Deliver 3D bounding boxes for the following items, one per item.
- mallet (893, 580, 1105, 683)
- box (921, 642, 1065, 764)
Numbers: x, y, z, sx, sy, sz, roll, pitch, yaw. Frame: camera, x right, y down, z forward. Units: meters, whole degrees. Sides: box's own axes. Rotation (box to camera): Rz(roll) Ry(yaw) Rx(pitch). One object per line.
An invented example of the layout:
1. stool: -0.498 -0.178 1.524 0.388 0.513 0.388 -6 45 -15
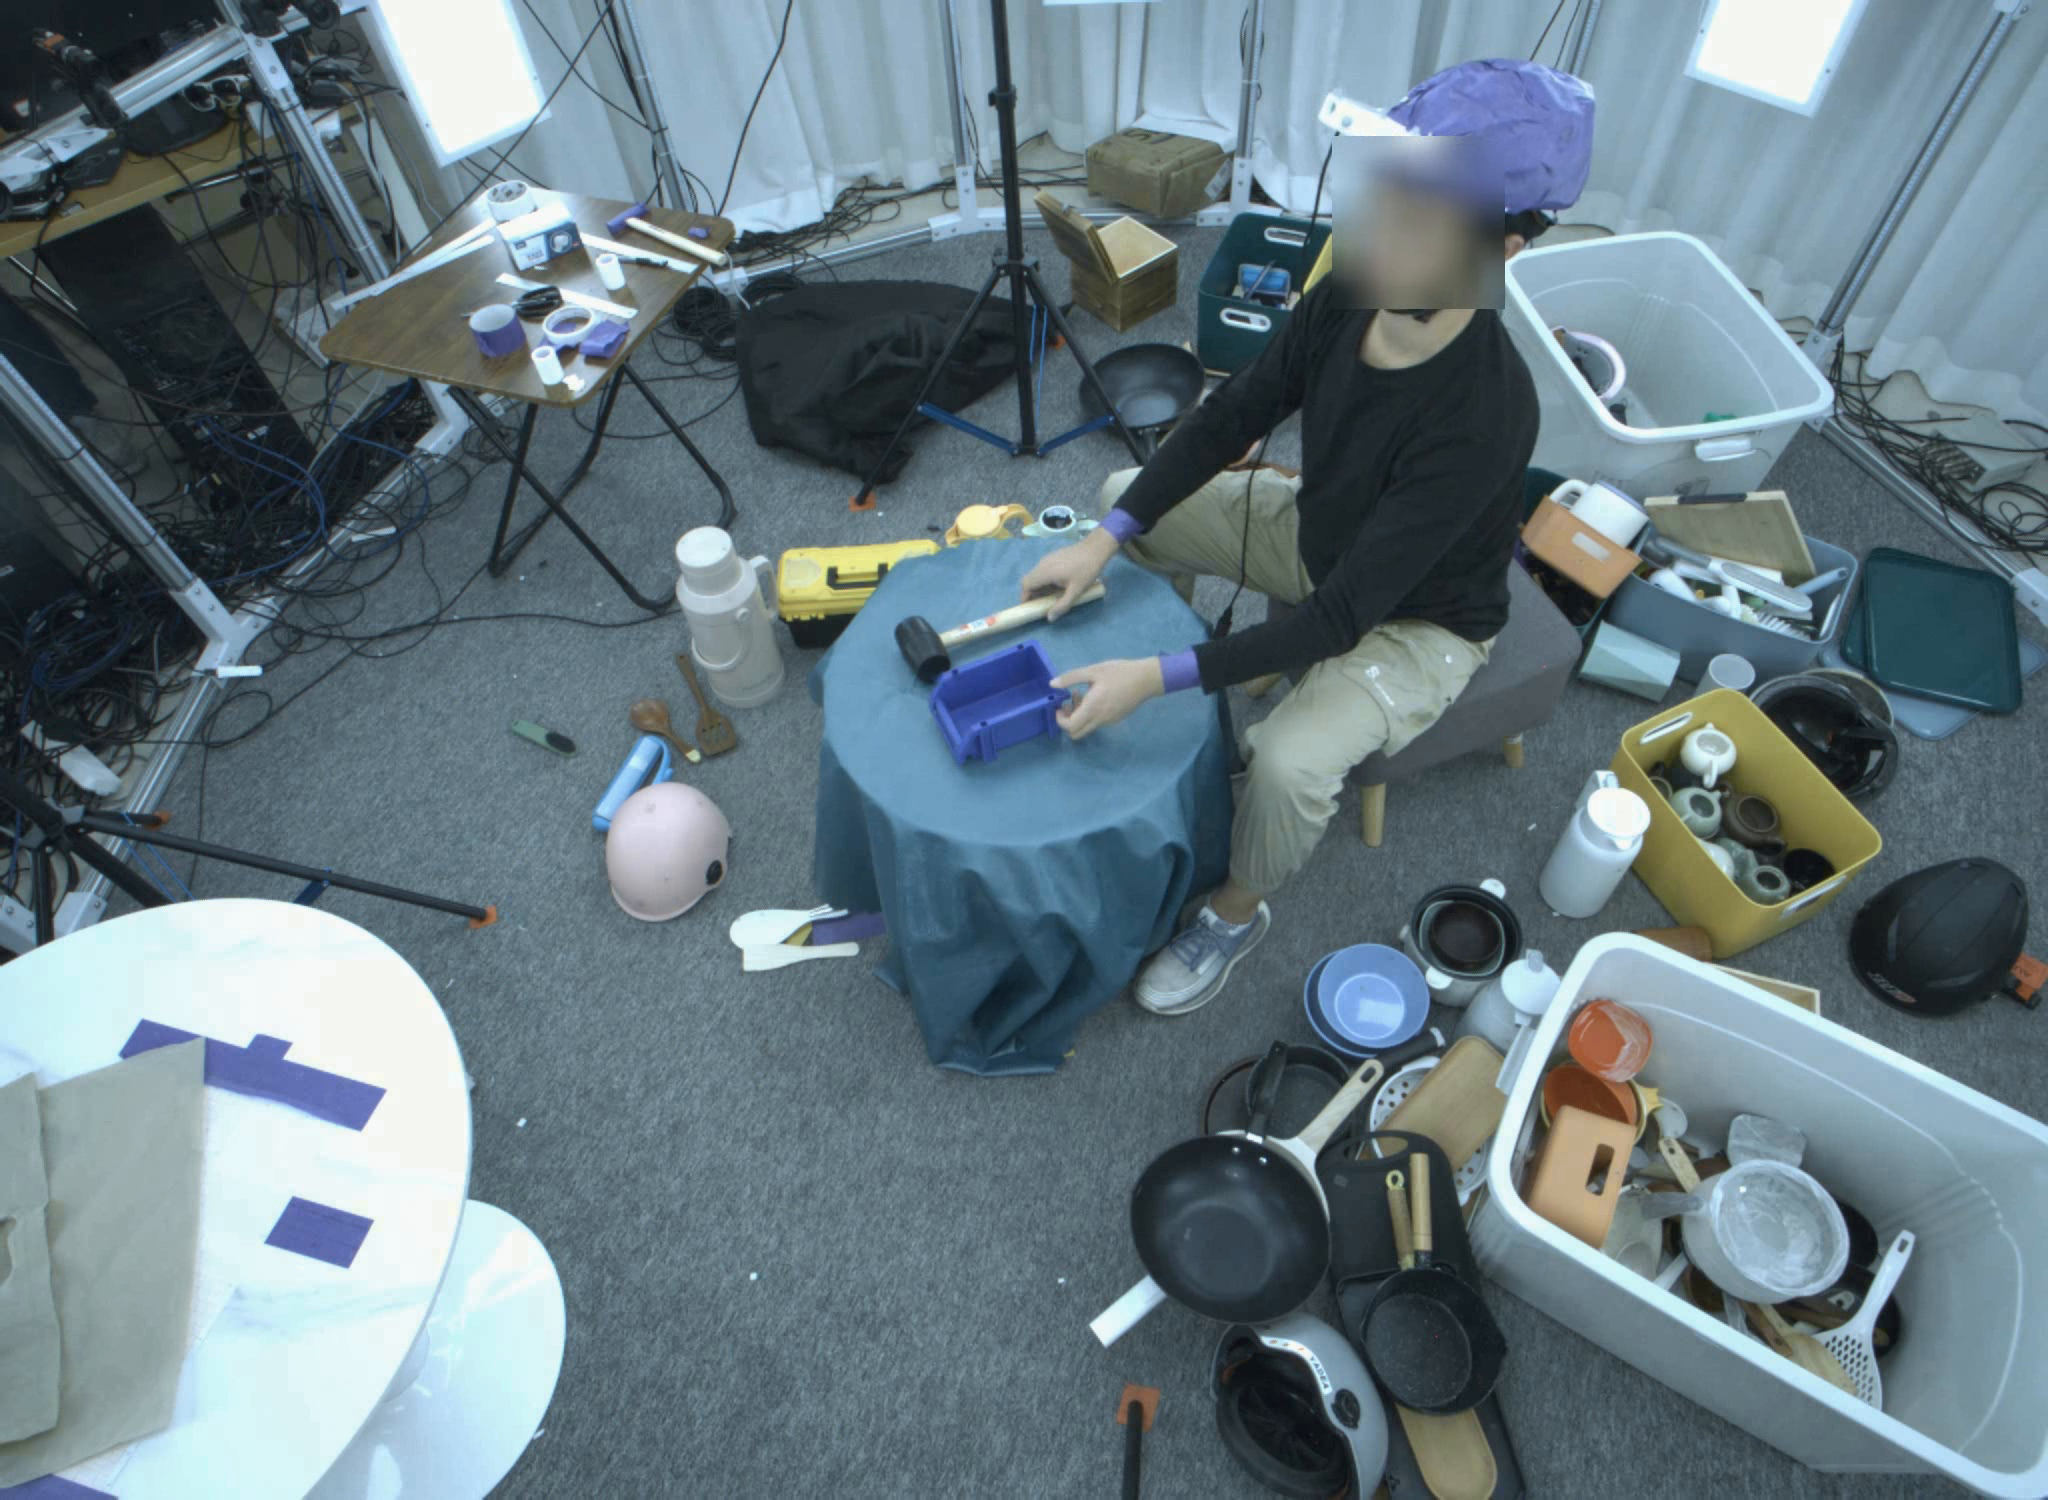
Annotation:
1. mallet: -0.033 -0.205 1.894 0.341 0.065 0.100 -22 57 -14
2. box: -0.047 -0.063 1.779 0.181 0.082 0.122 -19 56 -15
